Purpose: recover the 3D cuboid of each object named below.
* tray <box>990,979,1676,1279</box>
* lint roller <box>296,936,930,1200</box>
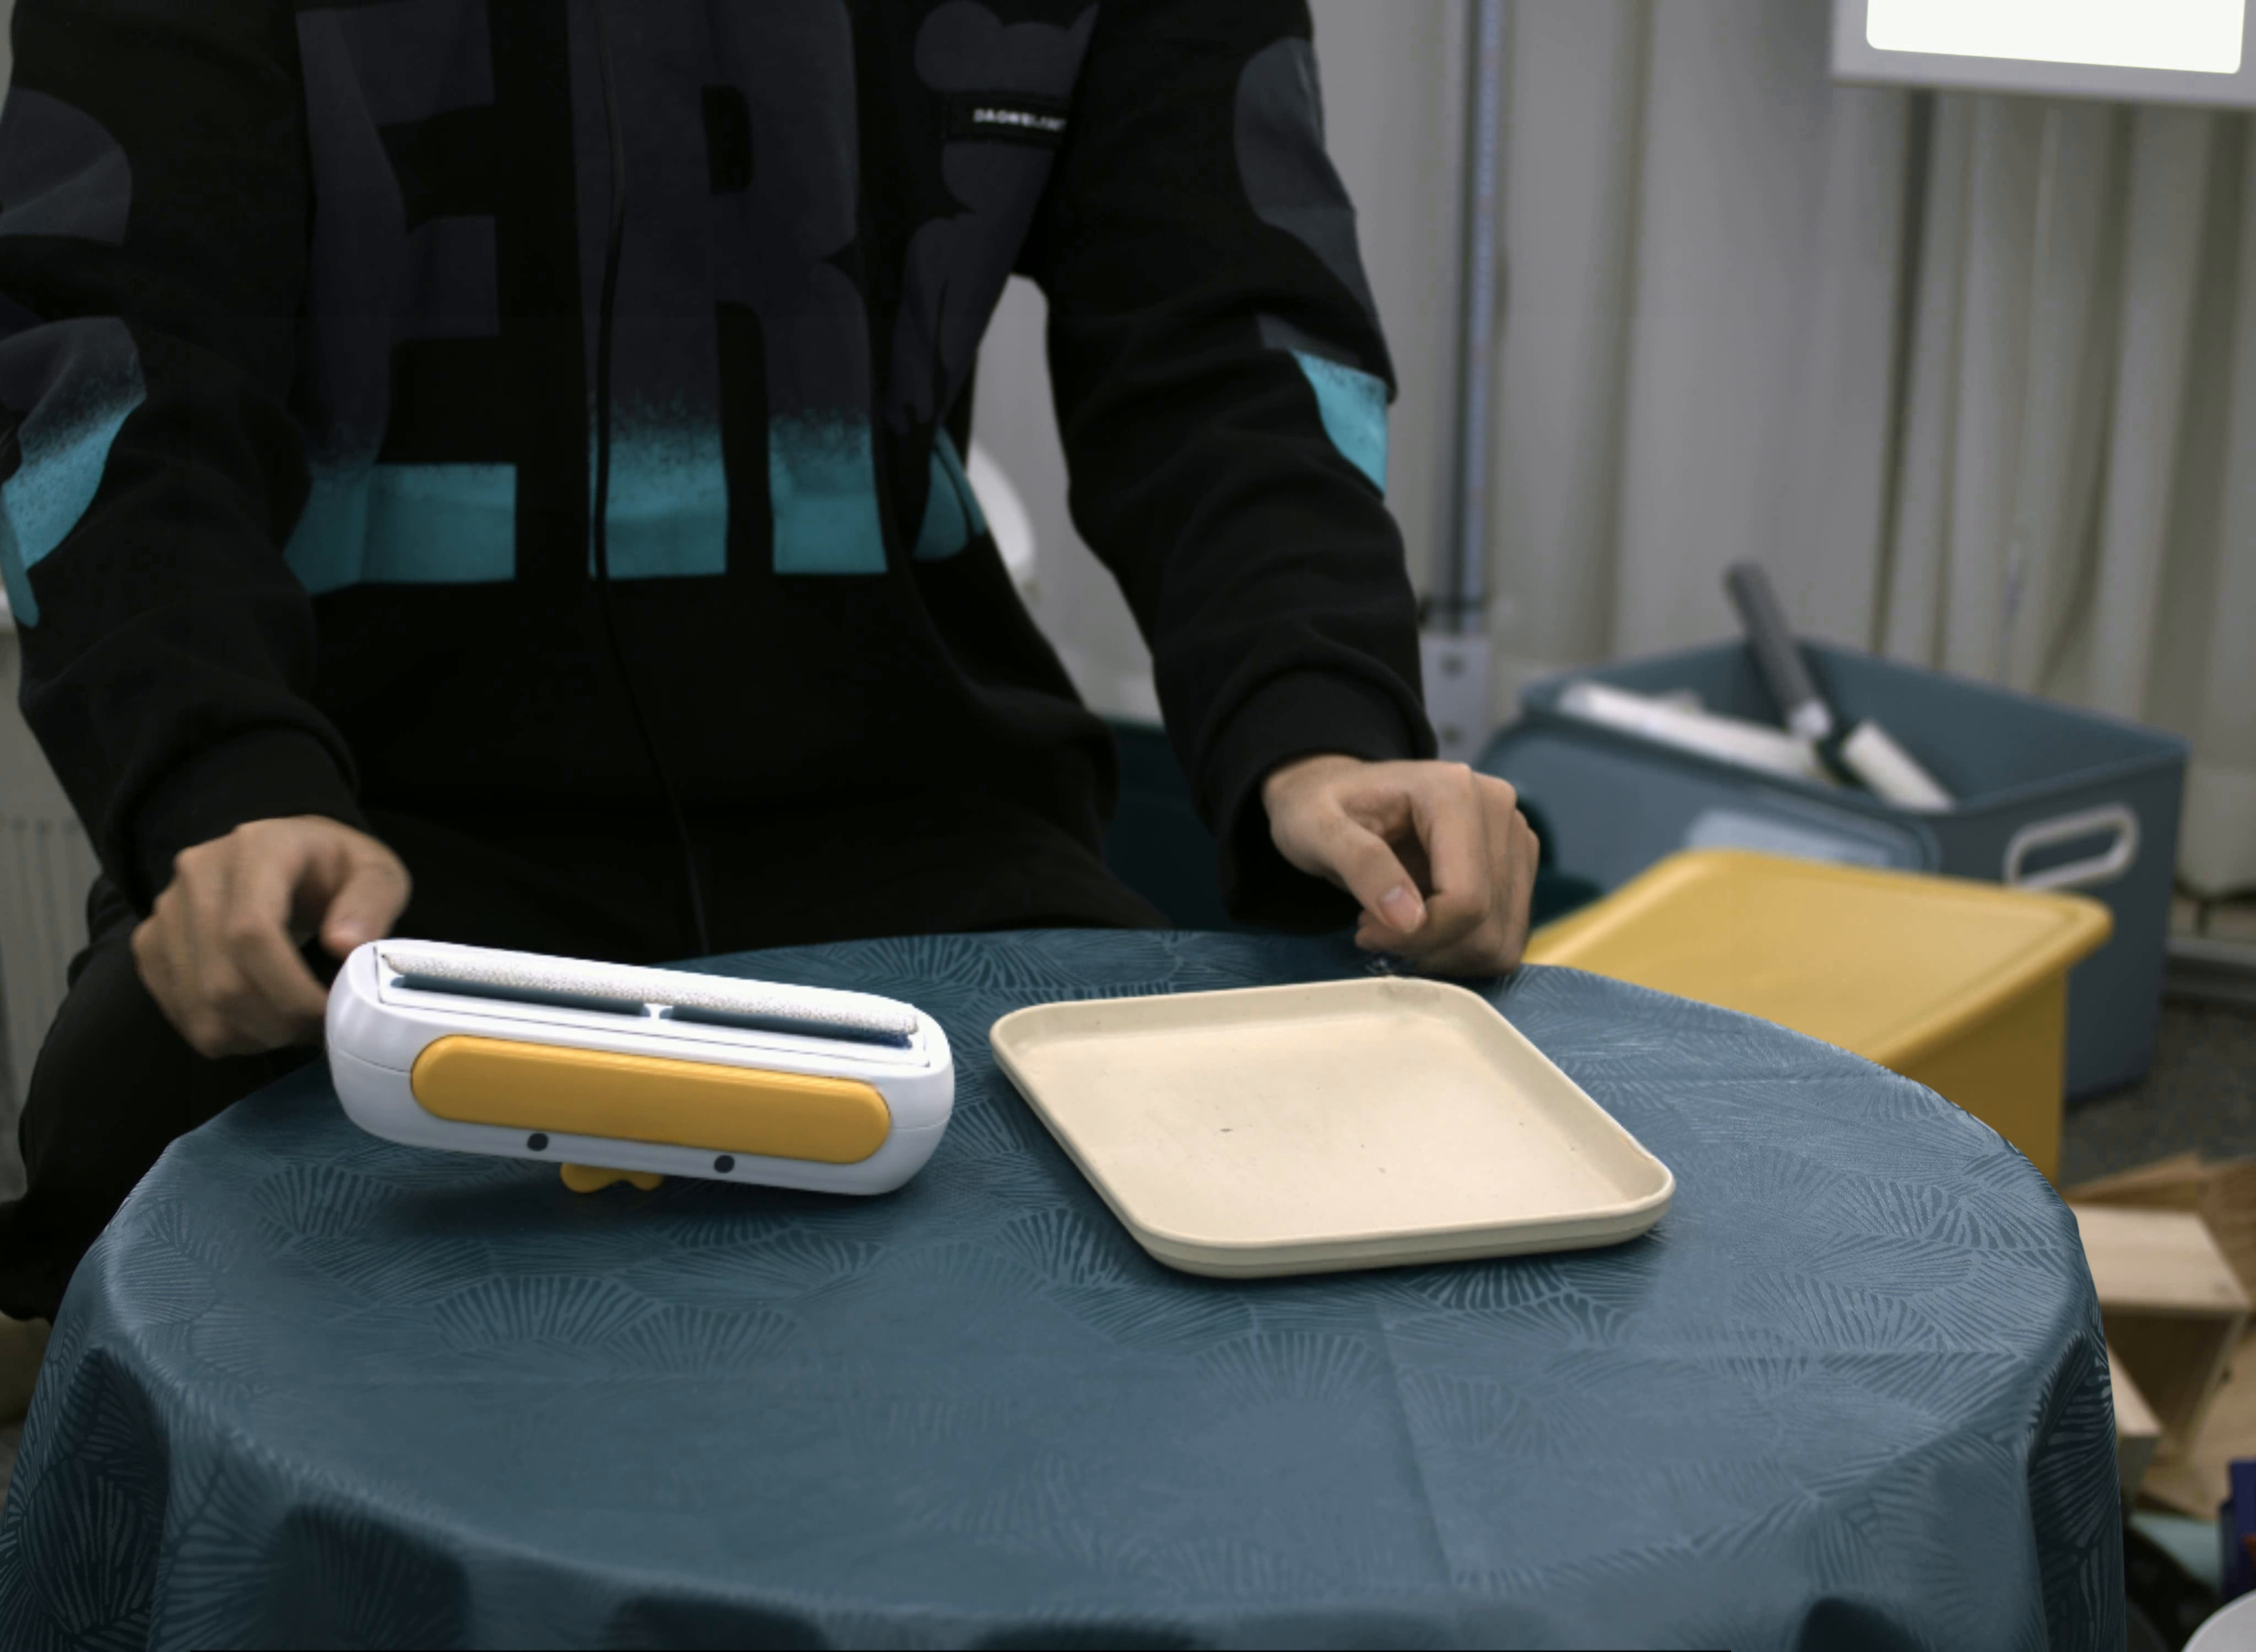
[{"bbox_3d":[0.060,0.094,1.656,0.171,0.017,0.237,-4,16,-14],"label":"tray"},{"bbox_3d":[-0.164,0.066,1.656,0.193,0.074,0.191,4,13,-9],"label":"lint roller"}]
